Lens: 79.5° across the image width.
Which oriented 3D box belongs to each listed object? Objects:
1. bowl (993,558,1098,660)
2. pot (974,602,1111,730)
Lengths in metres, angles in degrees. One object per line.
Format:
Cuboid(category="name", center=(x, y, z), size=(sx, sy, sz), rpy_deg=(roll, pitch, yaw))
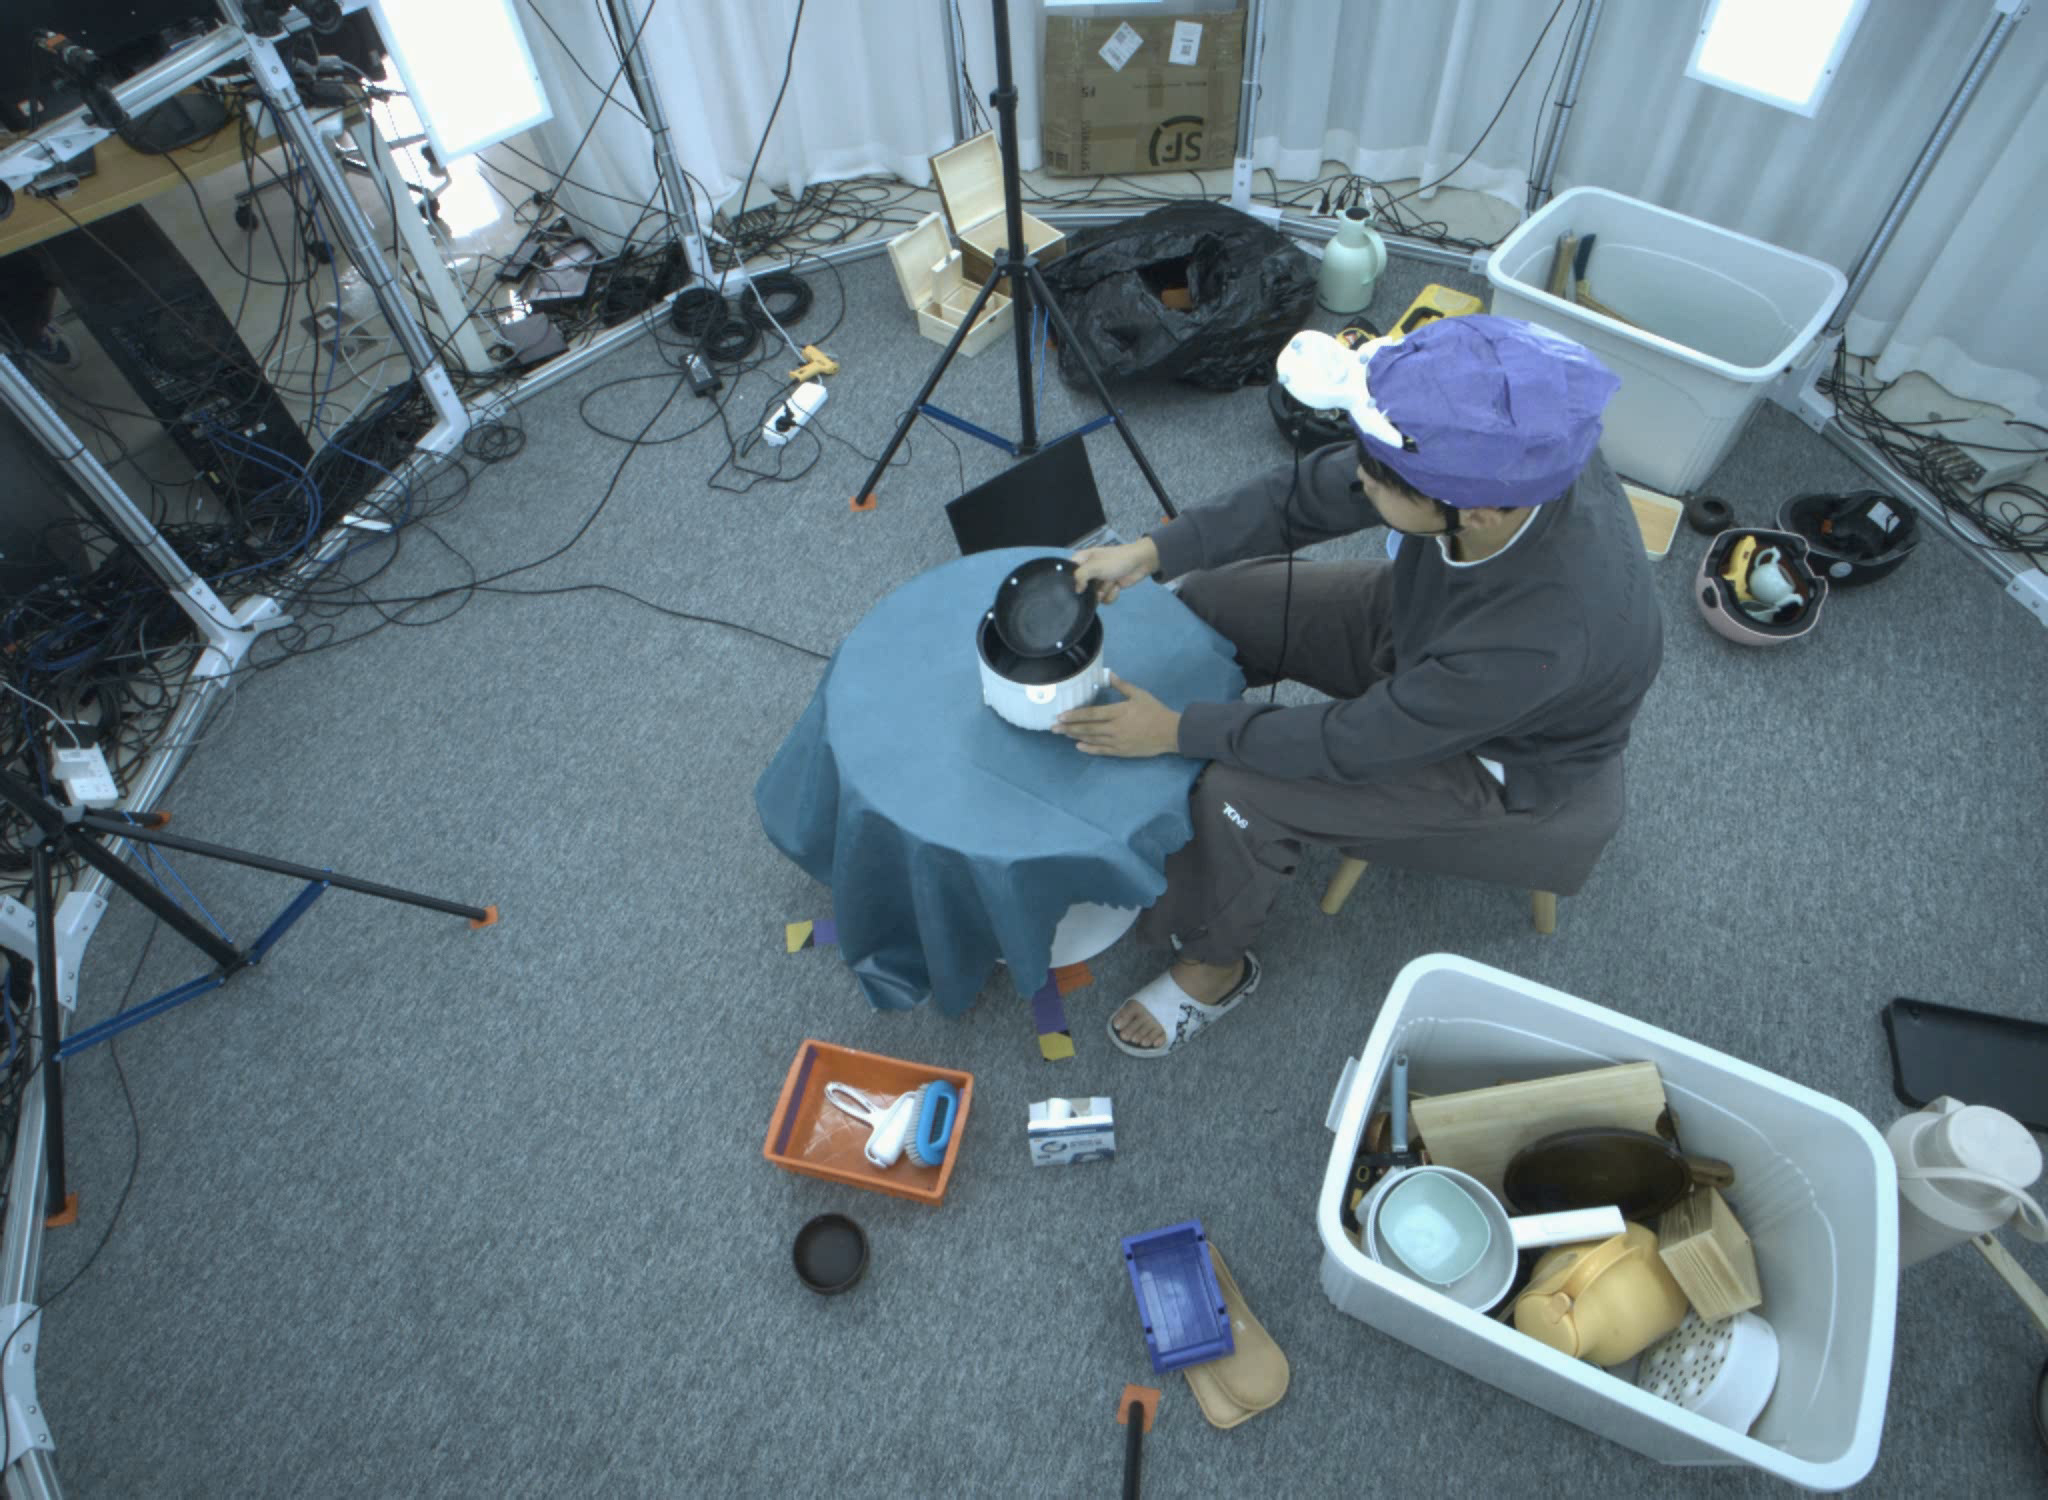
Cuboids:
Cuboid(category="bowl", center=(0.027, -0.192, 1.724), size=(0.137, 0.066, 0.170), rpy_deg=(33, 70, 2))
Cuboid(category="pot", center=(0.029, -0.127, 1.792), size=(0.190, 0.144, 0.237), rpy_deg=(-5, 56, 2))
